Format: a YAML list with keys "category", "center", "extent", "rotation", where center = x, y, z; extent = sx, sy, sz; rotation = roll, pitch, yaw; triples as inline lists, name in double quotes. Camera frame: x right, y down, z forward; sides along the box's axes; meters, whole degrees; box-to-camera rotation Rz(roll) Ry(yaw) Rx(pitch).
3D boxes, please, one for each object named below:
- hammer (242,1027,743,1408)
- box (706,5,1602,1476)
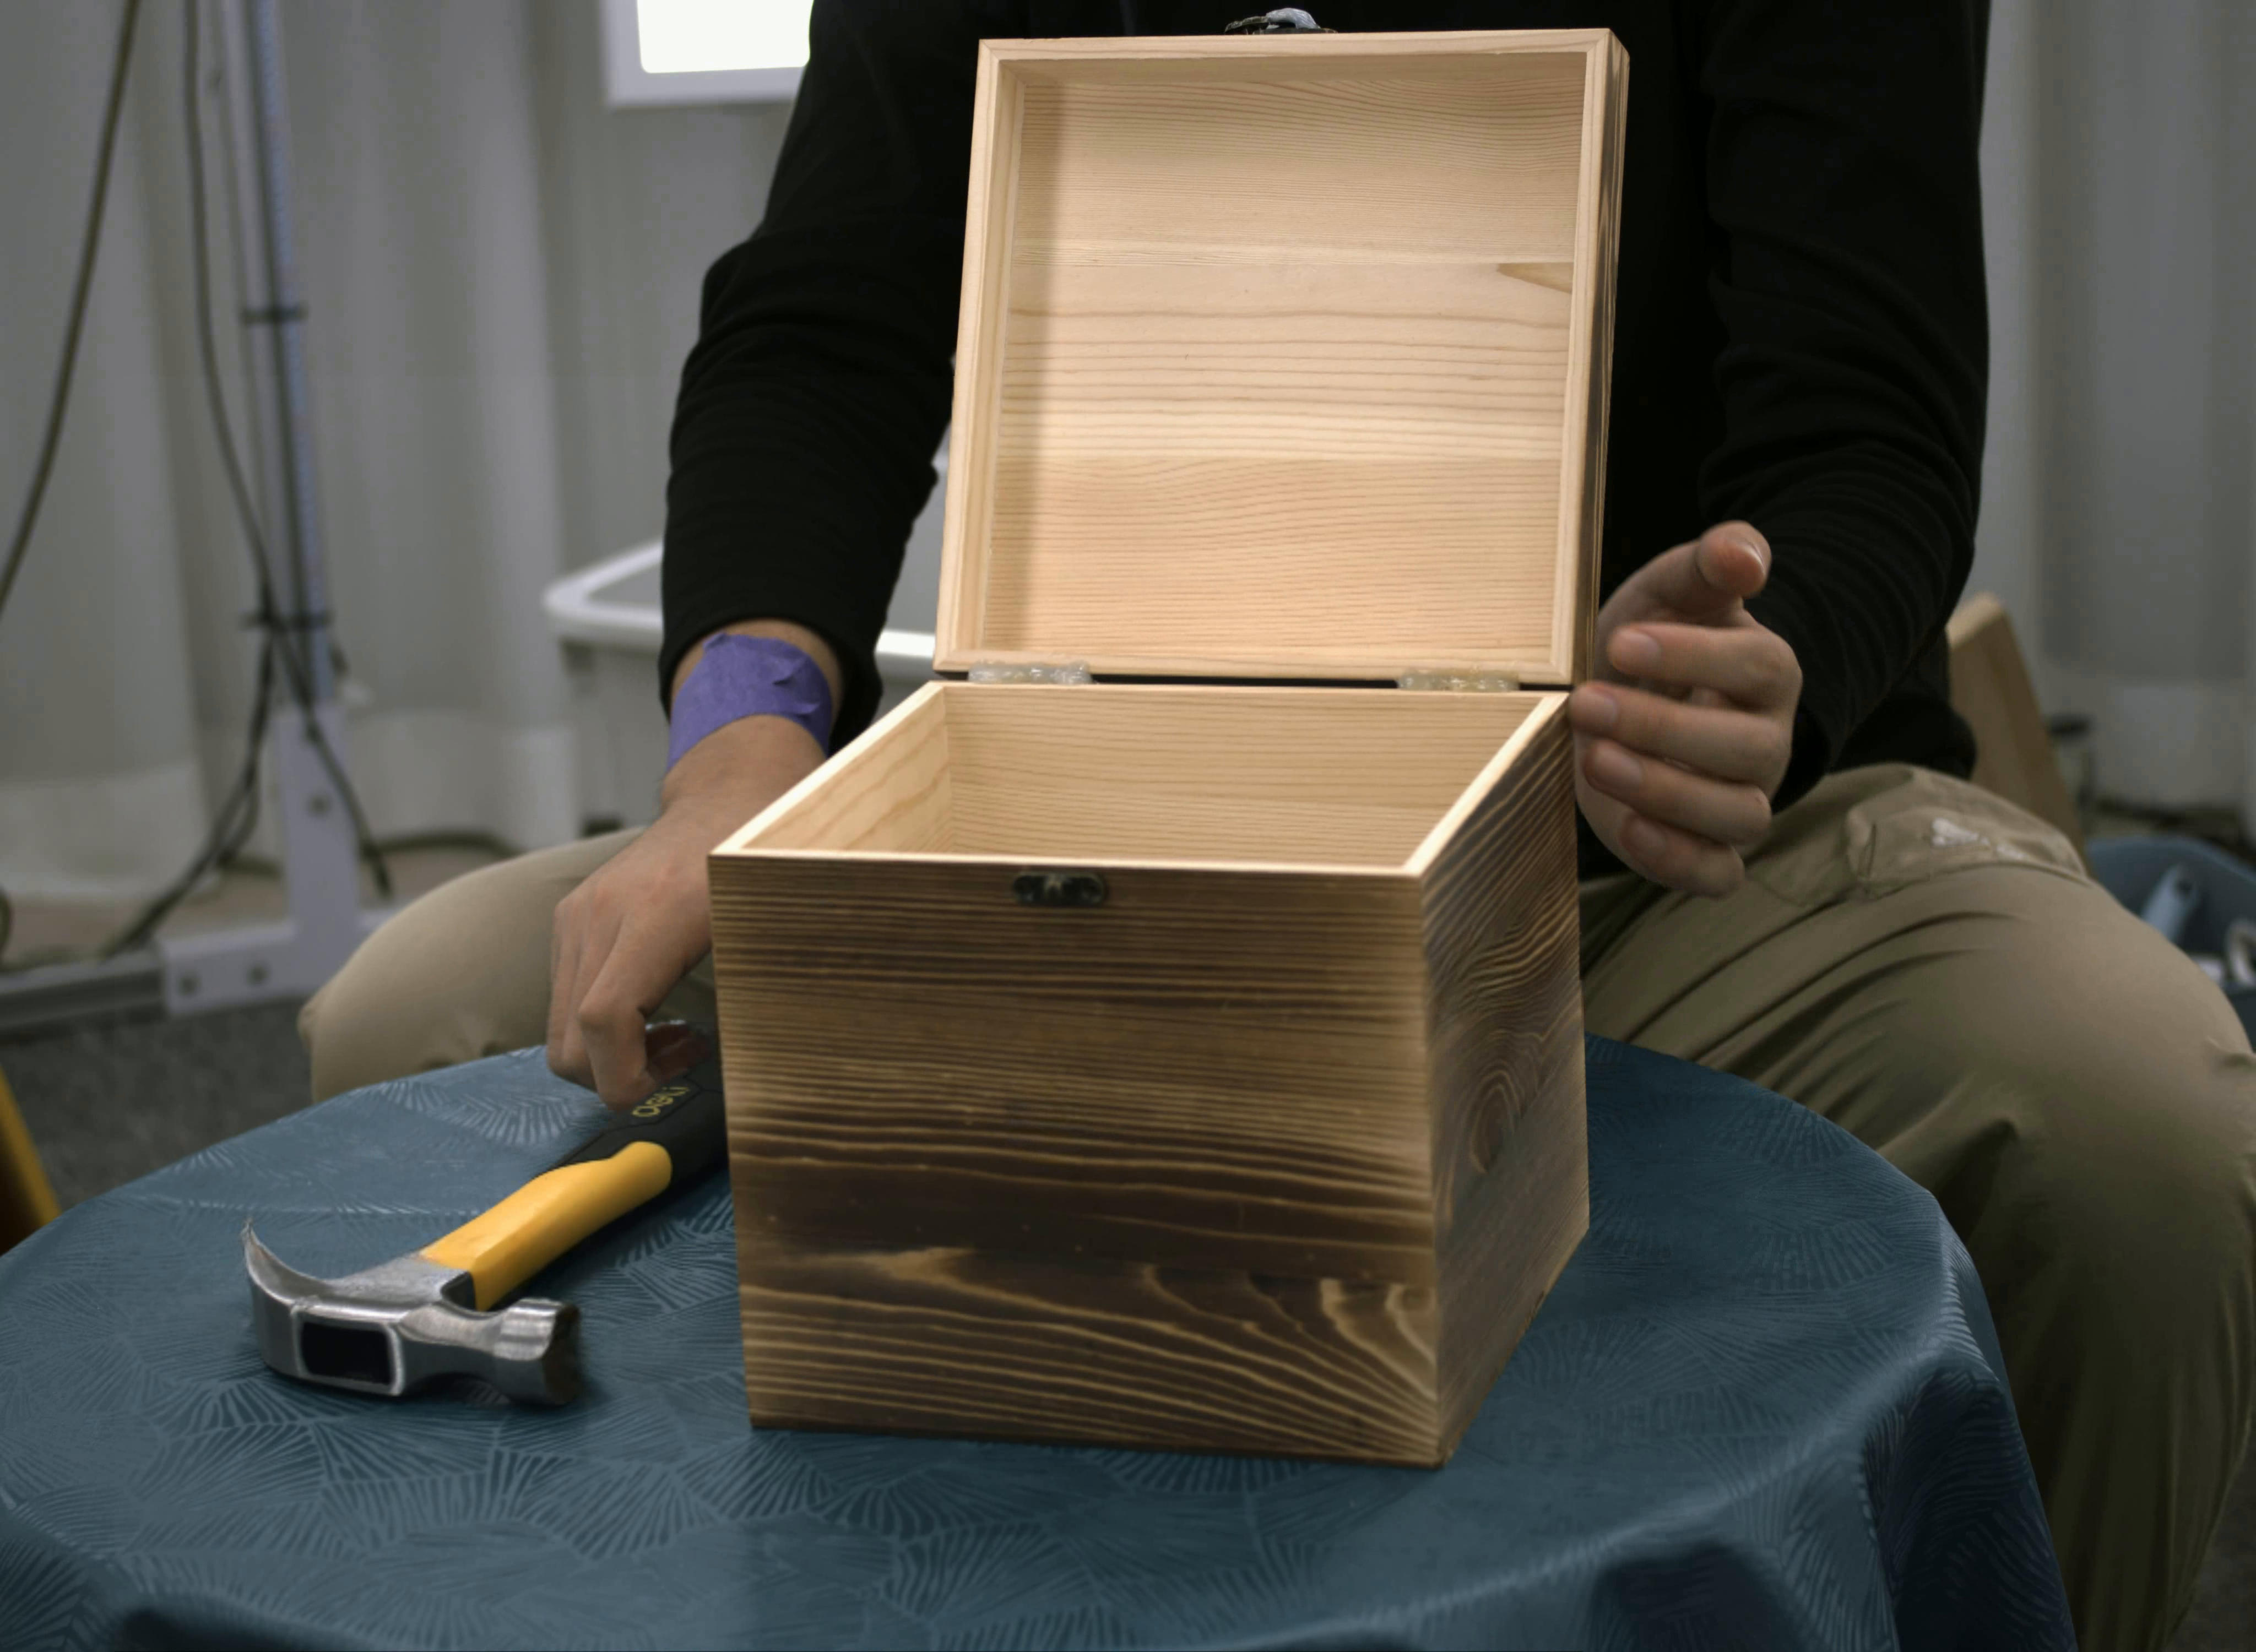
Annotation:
- category: "hammer"
  center: [-0.160, 0.105, 1.713]
  extent: [0.131, 0.032, 0.339]
  rotation: [3, 17, 23]
- category: "box"
  center: [0.021, -0.040, 1.601]
  extent: [0.208, 0.374, 0.323]
  rotation: [1, 14, 17]
